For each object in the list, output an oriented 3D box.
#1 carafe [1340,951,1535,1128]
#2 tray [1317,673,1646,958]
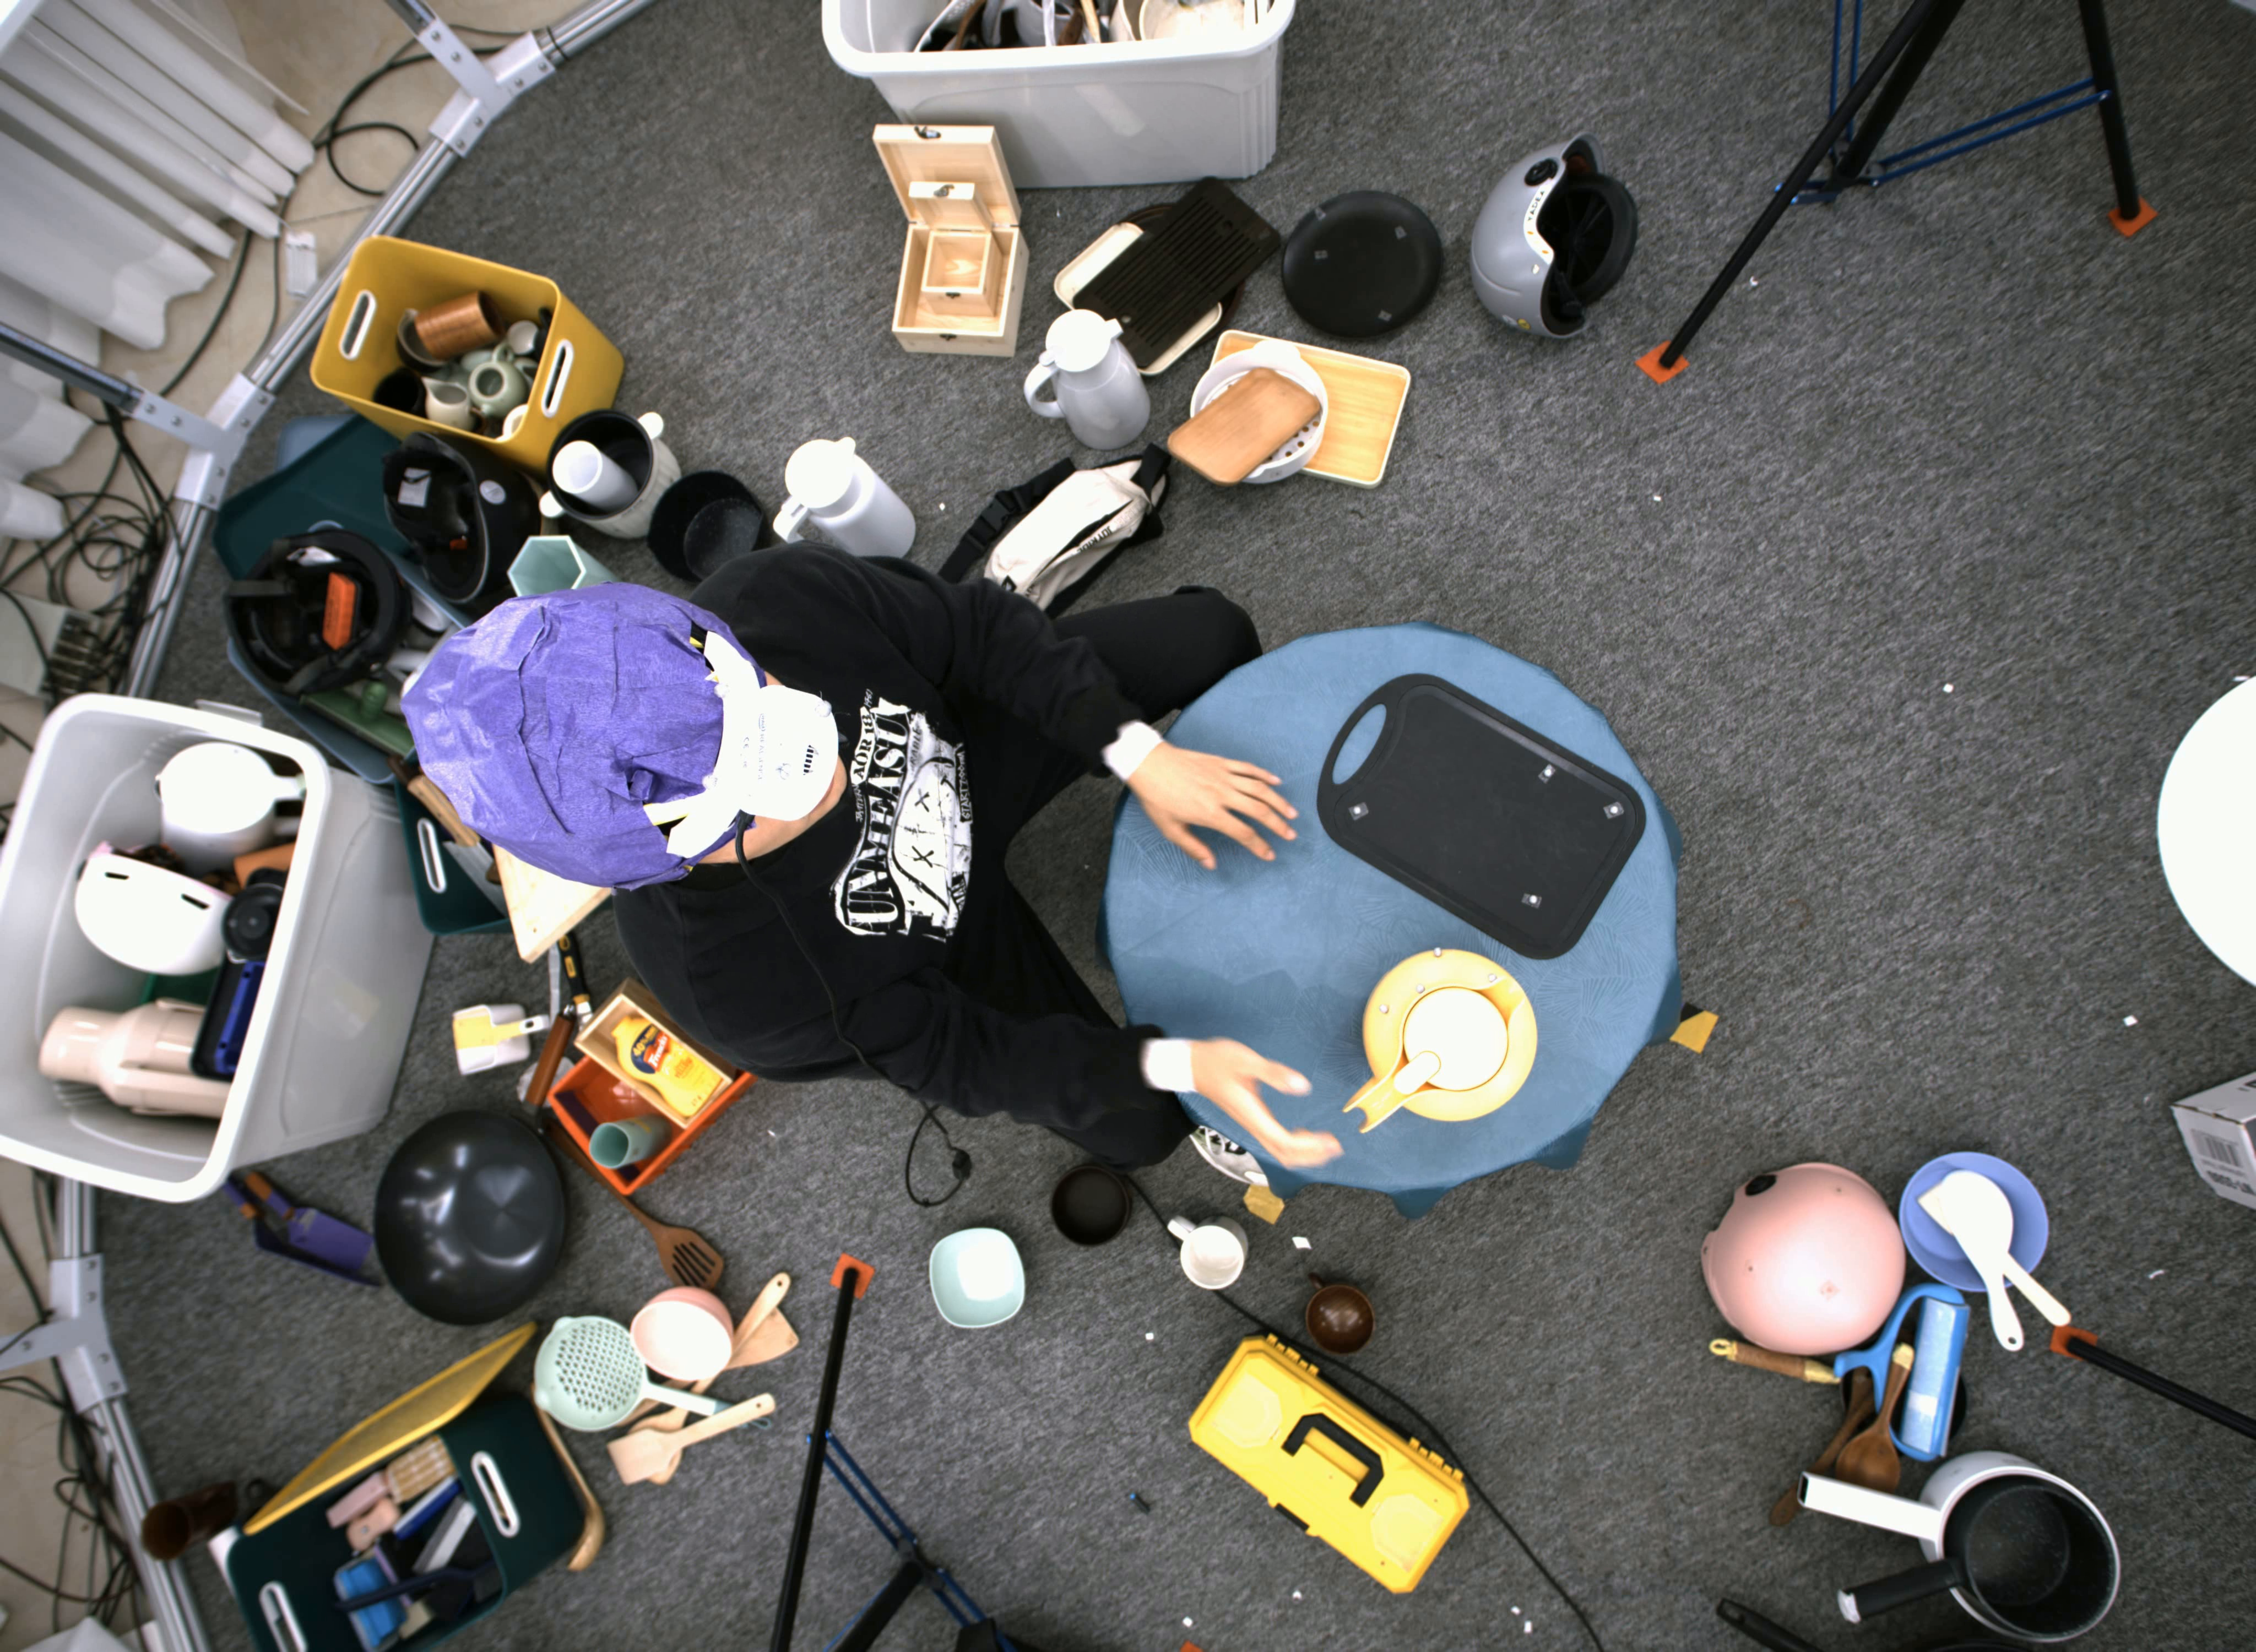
[{"bbox_3d":[0.288,0.209,1.317,0.203,0.261,0.162,-38,77,3],"label":"carafe"},{"bbox_3d":[0.362,-0.020,1.444,0.324,0.010,0.211,32,93,11],"label":"tray"}]
